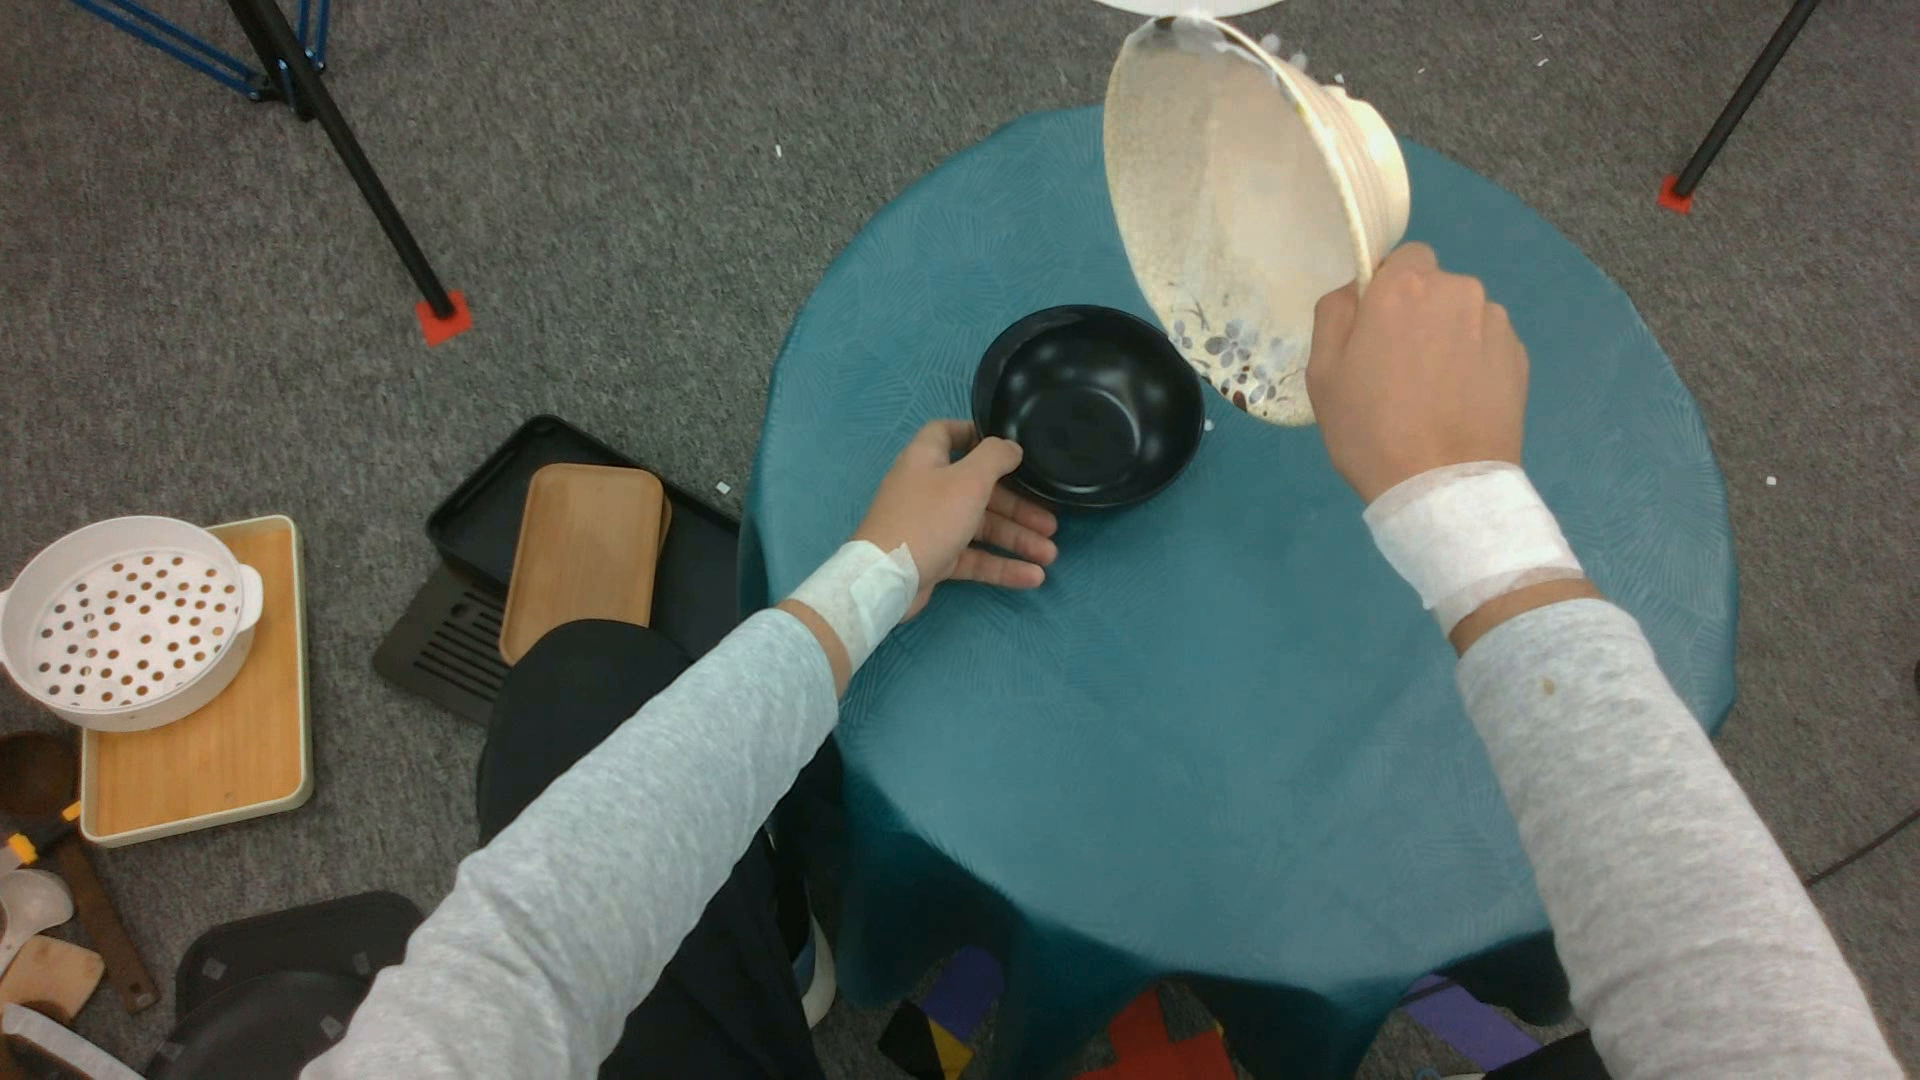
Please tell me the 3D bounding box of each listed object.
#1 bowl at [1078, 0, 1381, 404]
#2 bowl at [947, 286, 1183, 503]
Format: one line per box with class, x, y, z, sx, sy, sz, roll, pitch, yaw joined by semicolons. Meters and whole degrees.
bowl;0.144;-0.173;0.666;0.078;0.203;0.204;-28;70;-14
bowl;0.061;-0.081;0.829;0.140;0.049;0.140;1;69;-2
